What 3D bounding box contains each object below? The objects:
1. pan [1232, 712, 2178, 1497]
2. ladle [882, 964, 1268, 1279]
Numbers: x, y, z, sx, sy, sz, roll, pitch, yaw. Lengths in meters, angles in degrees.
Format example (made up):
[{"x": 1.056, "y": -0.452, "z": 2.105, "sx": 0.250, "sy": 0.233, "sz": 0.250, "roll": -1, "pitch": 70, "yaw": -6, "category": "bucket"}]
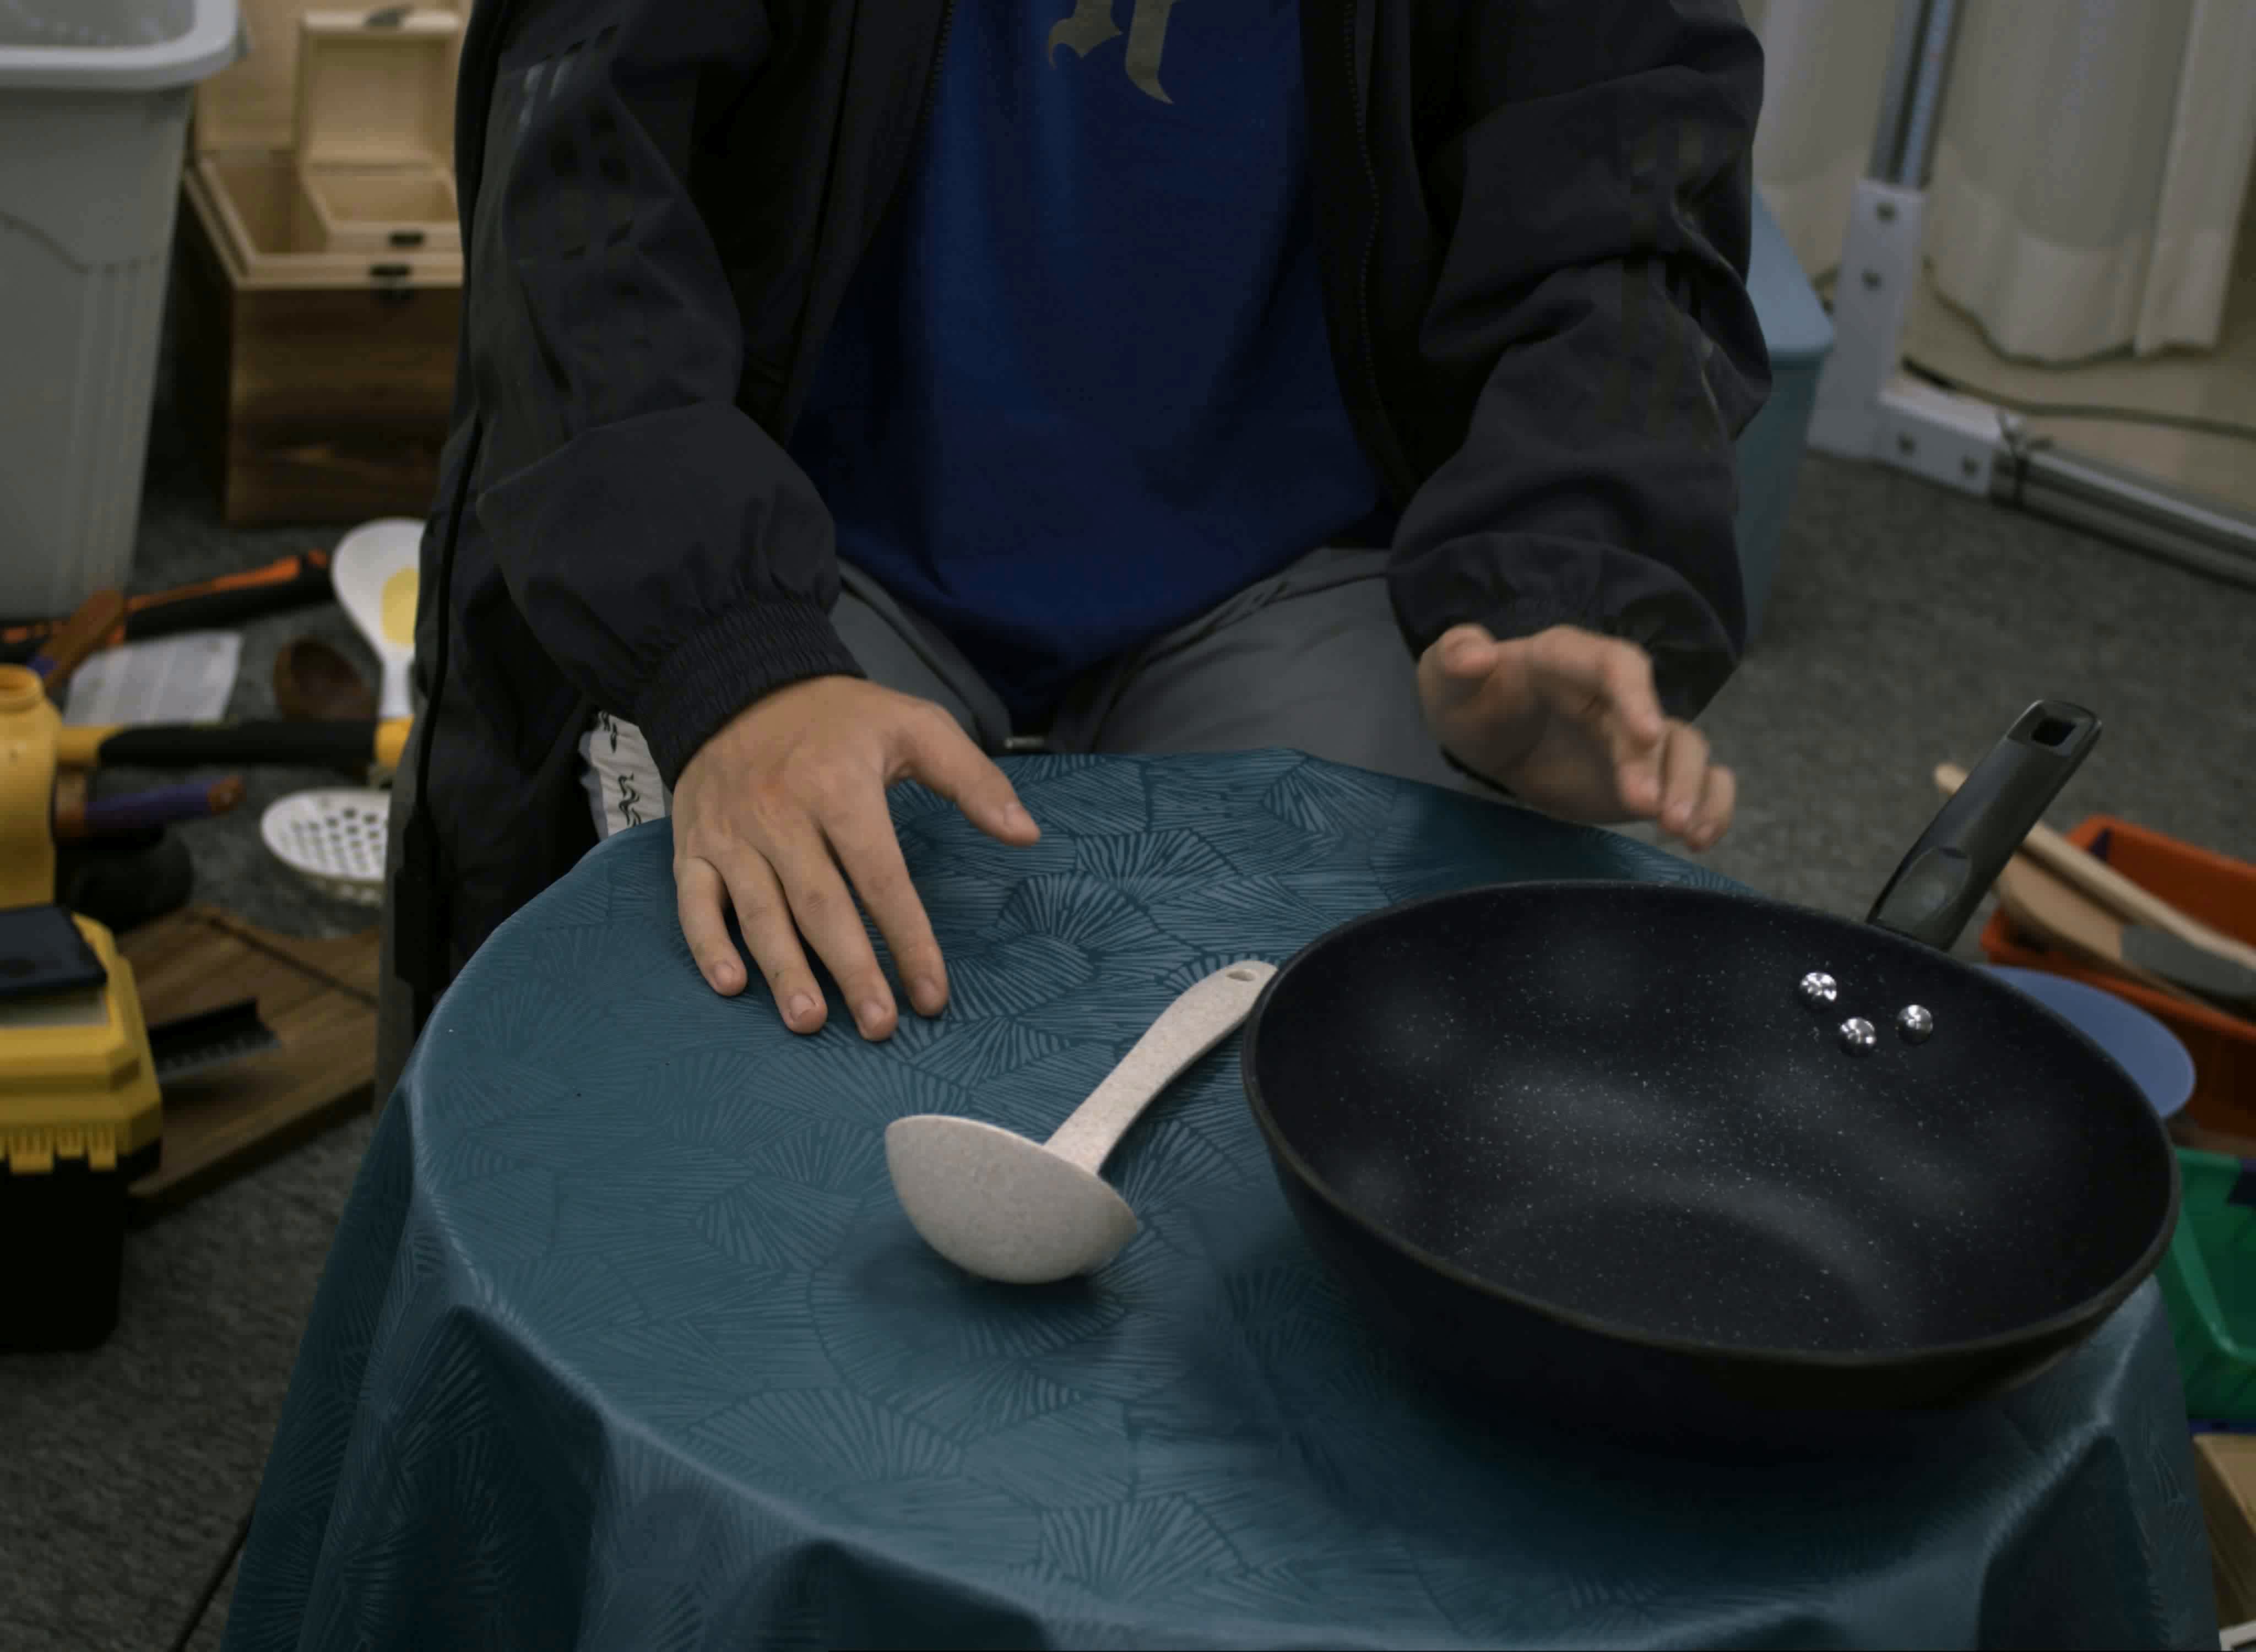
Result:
[{"x": 0.225, "y": 0.091, "z": 1.802, "sx": 0.311, "sy": 0.111, "sz": 0.476, "roll": 21, "pitch": 31, "yaw": 23, "category": "pan"}, {"x": -0.001, "y": 0.075, "z": 1.824, "sx": 0.089, "sy": 0.069, "sz": 0.275, "roll": 8, "pitch": 25, "yaw": 19, "category": "ladle"}]
